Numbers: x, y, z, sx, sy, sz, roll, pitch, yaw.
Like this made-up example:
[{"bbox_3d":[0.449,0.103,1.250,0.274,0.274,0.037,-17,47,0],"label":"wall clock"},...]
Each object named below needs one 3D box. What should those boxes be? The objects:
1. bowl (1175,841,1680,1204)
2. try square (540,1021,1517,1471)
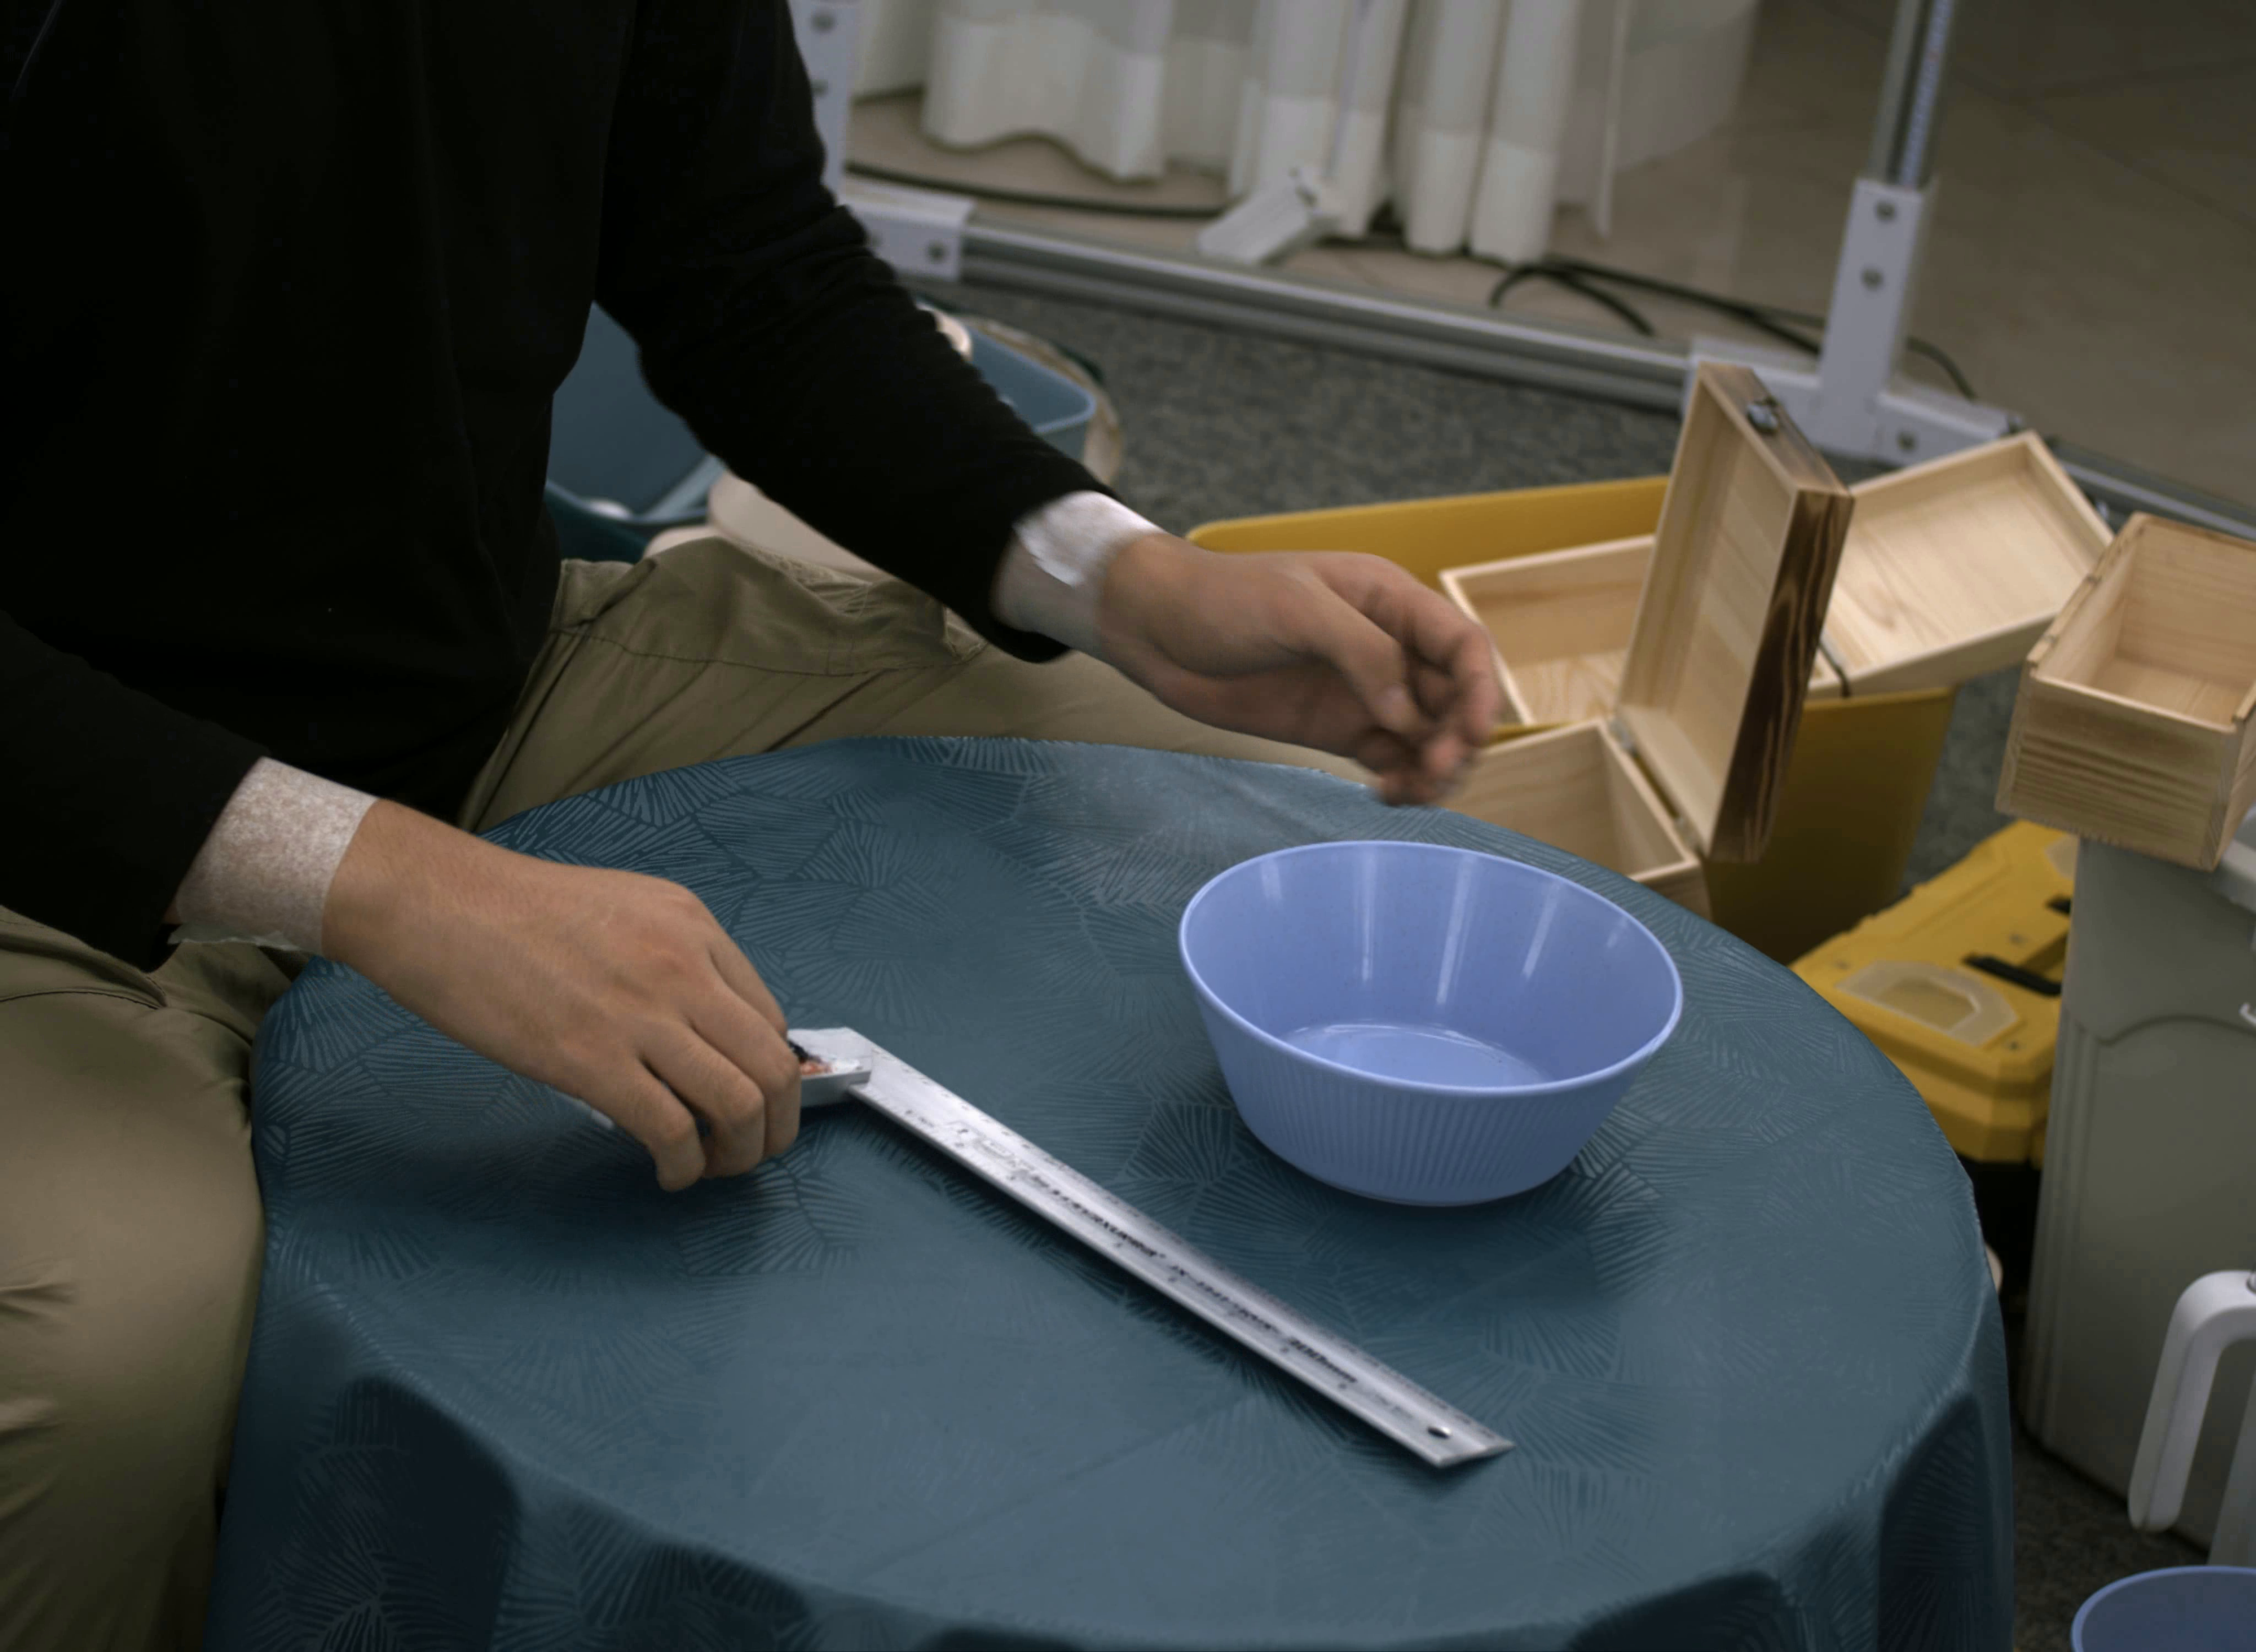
[{"bbox_3d":[0.100,0.074,1.845,0.175,0.070,0.177,5,27,-3],"label":"bowl"},{"bbox_3d":[-0.036,0.142,1.725,0.315,0.016,0.151,30,25,36],"label":"try square"}]
